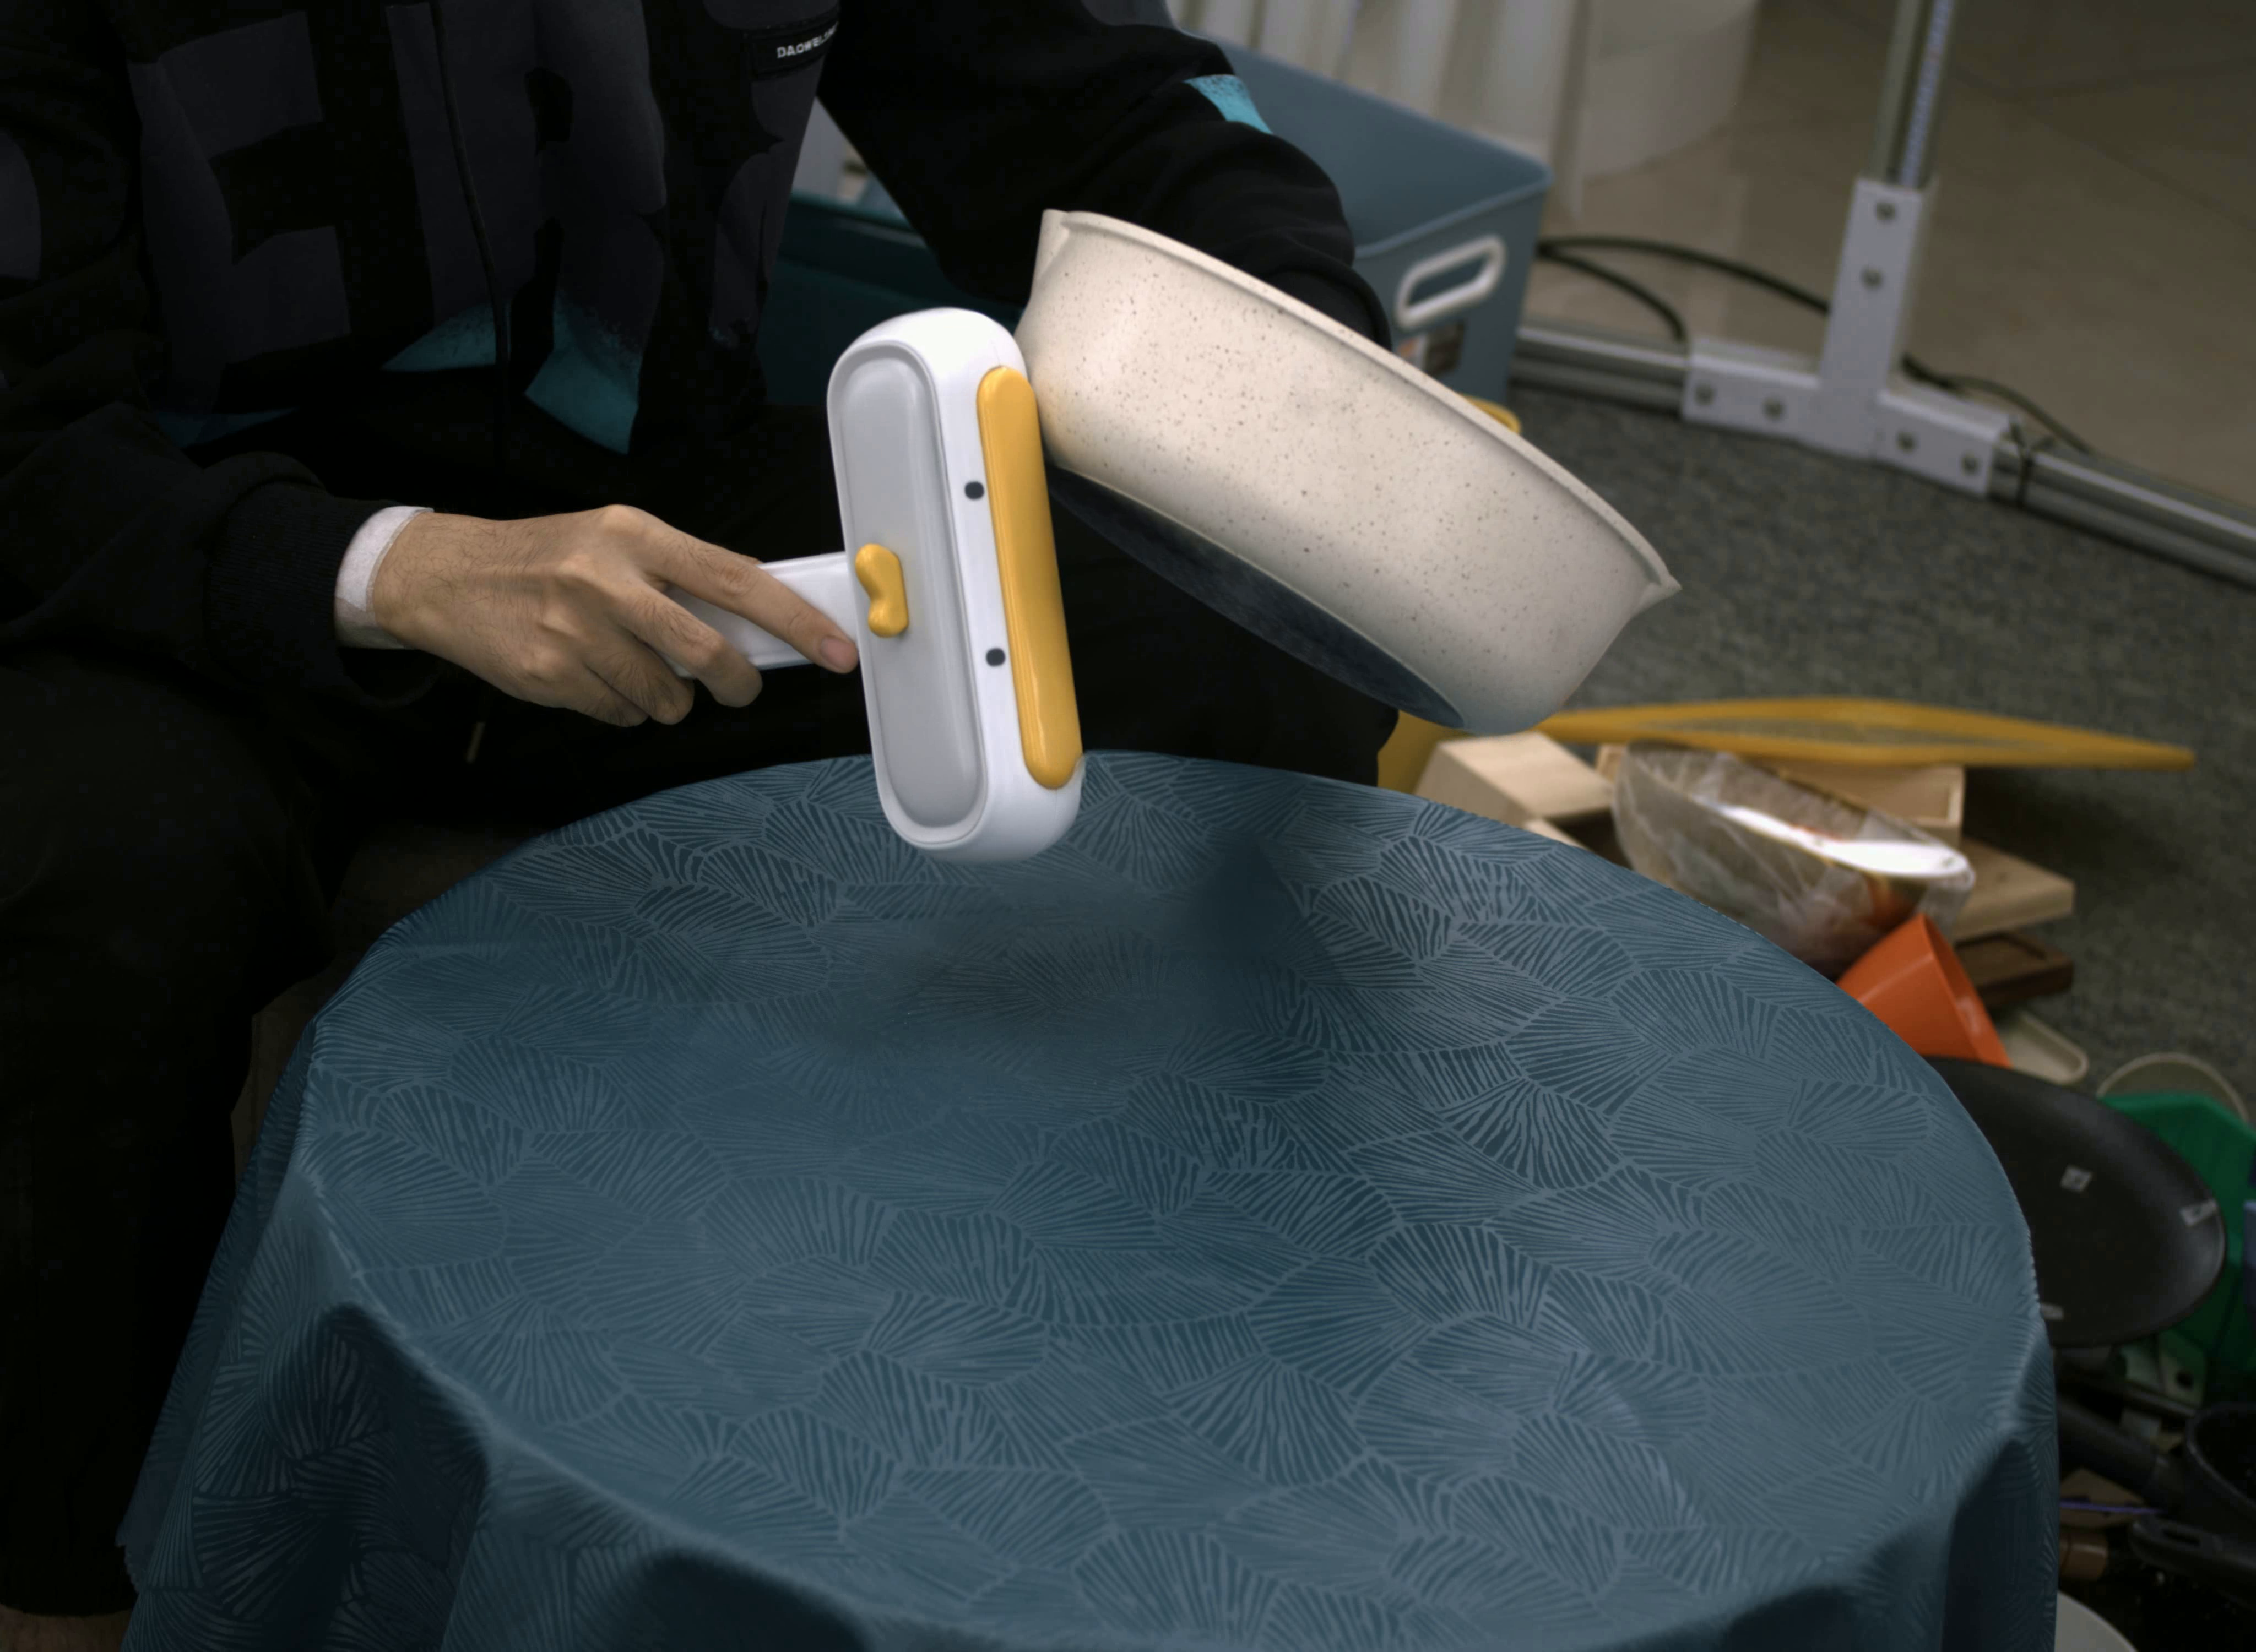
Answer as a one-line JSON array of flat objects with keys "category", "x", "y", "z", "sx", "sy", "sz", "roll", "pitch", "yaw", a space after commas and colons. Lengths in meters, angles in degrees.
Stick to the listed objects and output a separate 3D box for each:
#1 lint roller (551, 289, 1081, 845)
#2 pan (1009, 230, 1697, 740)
[{"category": "lint roller", "x": -0.114, "y": -0.078, "z": 1.866, "sx": 0.193, "sy": 0.193, "sz": 0.074, "roll": -11, "pitch": 3, "yaw": 34}, {"category": "pan", "x": 0.073, "y": -0.111, "z": 1.978, "sx": 0.263, "sy": 0.102, "sz": 0.434, "roll": 28, "pitch": -4, "yaw": 4}]
